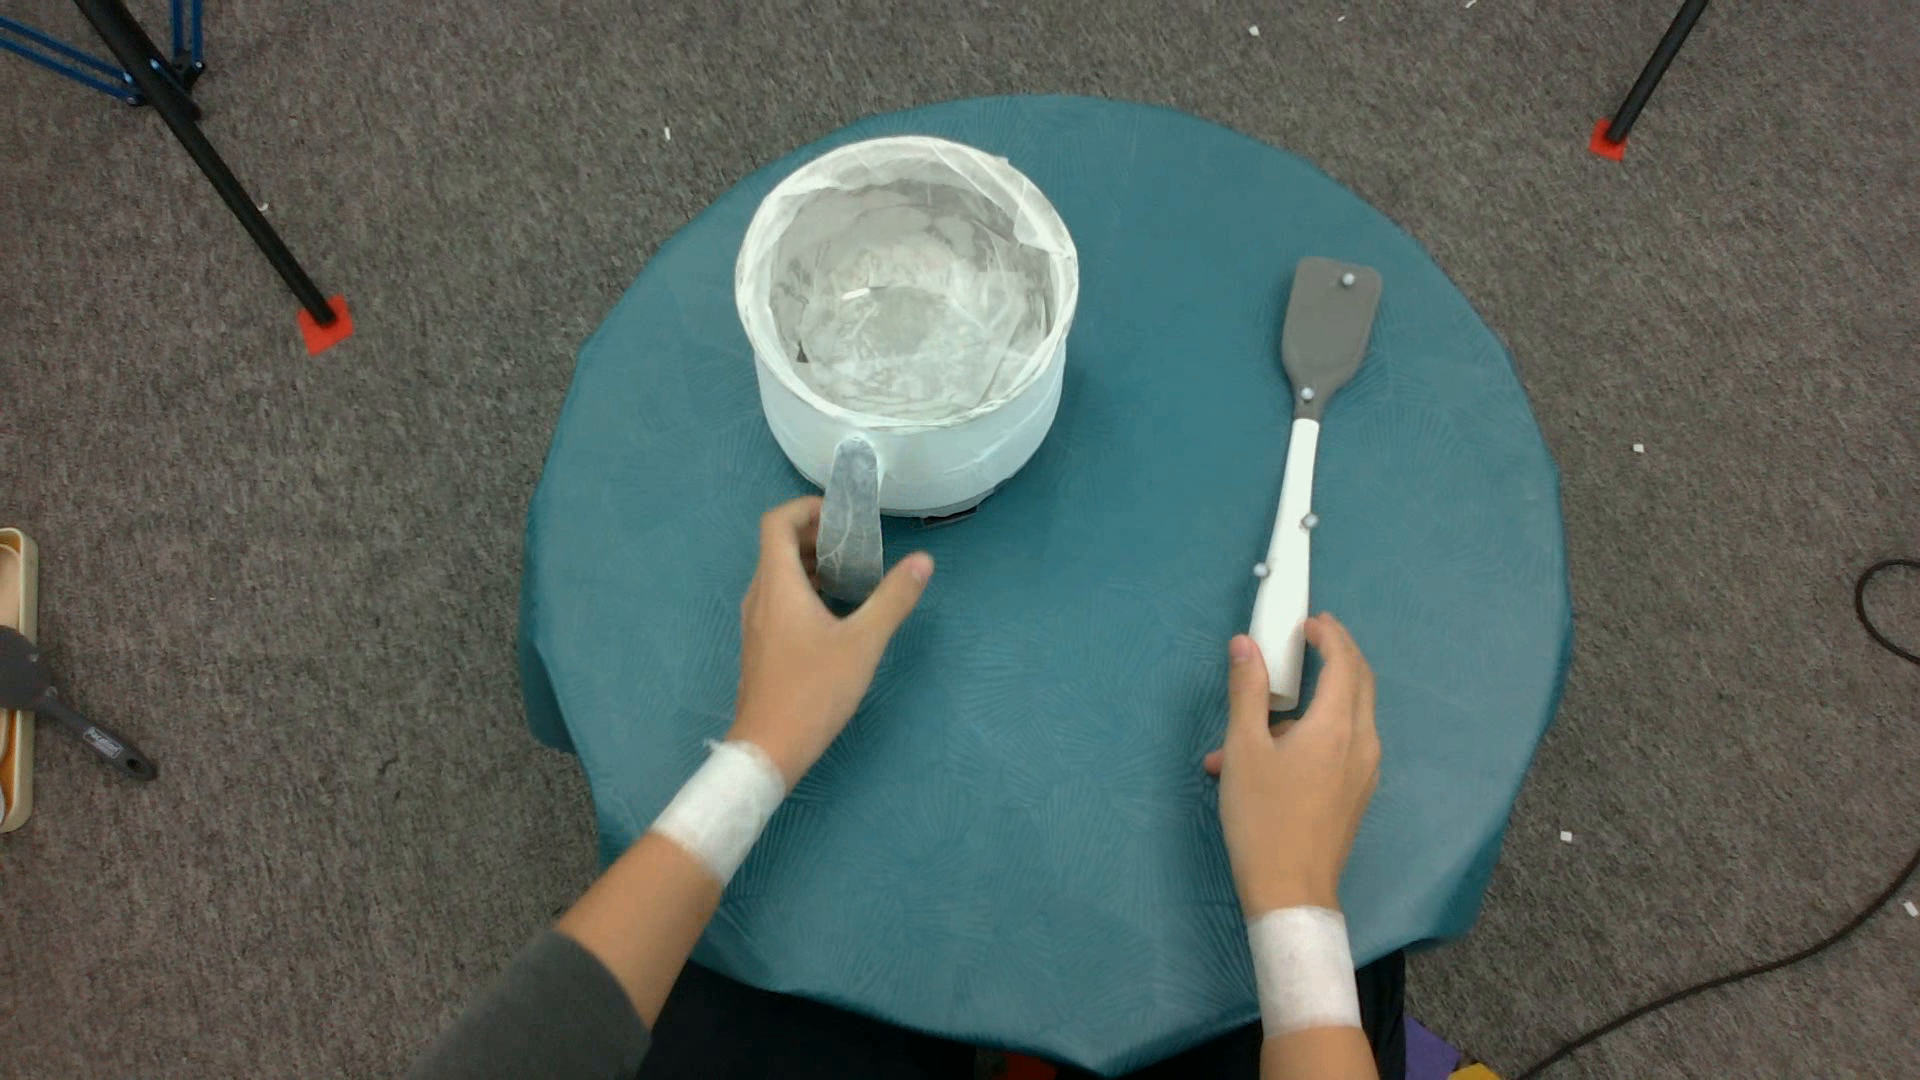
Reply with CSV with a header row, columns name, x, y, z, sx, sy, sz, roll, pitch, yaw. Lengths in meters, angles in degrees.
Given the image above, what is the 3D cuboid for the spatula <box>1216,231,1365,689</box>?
name,x,y,z,sx,sy,sz,roll,pitch,yaw
spatula,0.189,-0.053,0.802,0.058,0.032,0.288,12,69,8

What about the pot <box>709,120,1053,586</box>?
name,x,y,z,sx,sy,sz,roll,pitch,yaw
pot,-0.047,-0.096,0.755,0.178,0.136,0.234,12,68,3
